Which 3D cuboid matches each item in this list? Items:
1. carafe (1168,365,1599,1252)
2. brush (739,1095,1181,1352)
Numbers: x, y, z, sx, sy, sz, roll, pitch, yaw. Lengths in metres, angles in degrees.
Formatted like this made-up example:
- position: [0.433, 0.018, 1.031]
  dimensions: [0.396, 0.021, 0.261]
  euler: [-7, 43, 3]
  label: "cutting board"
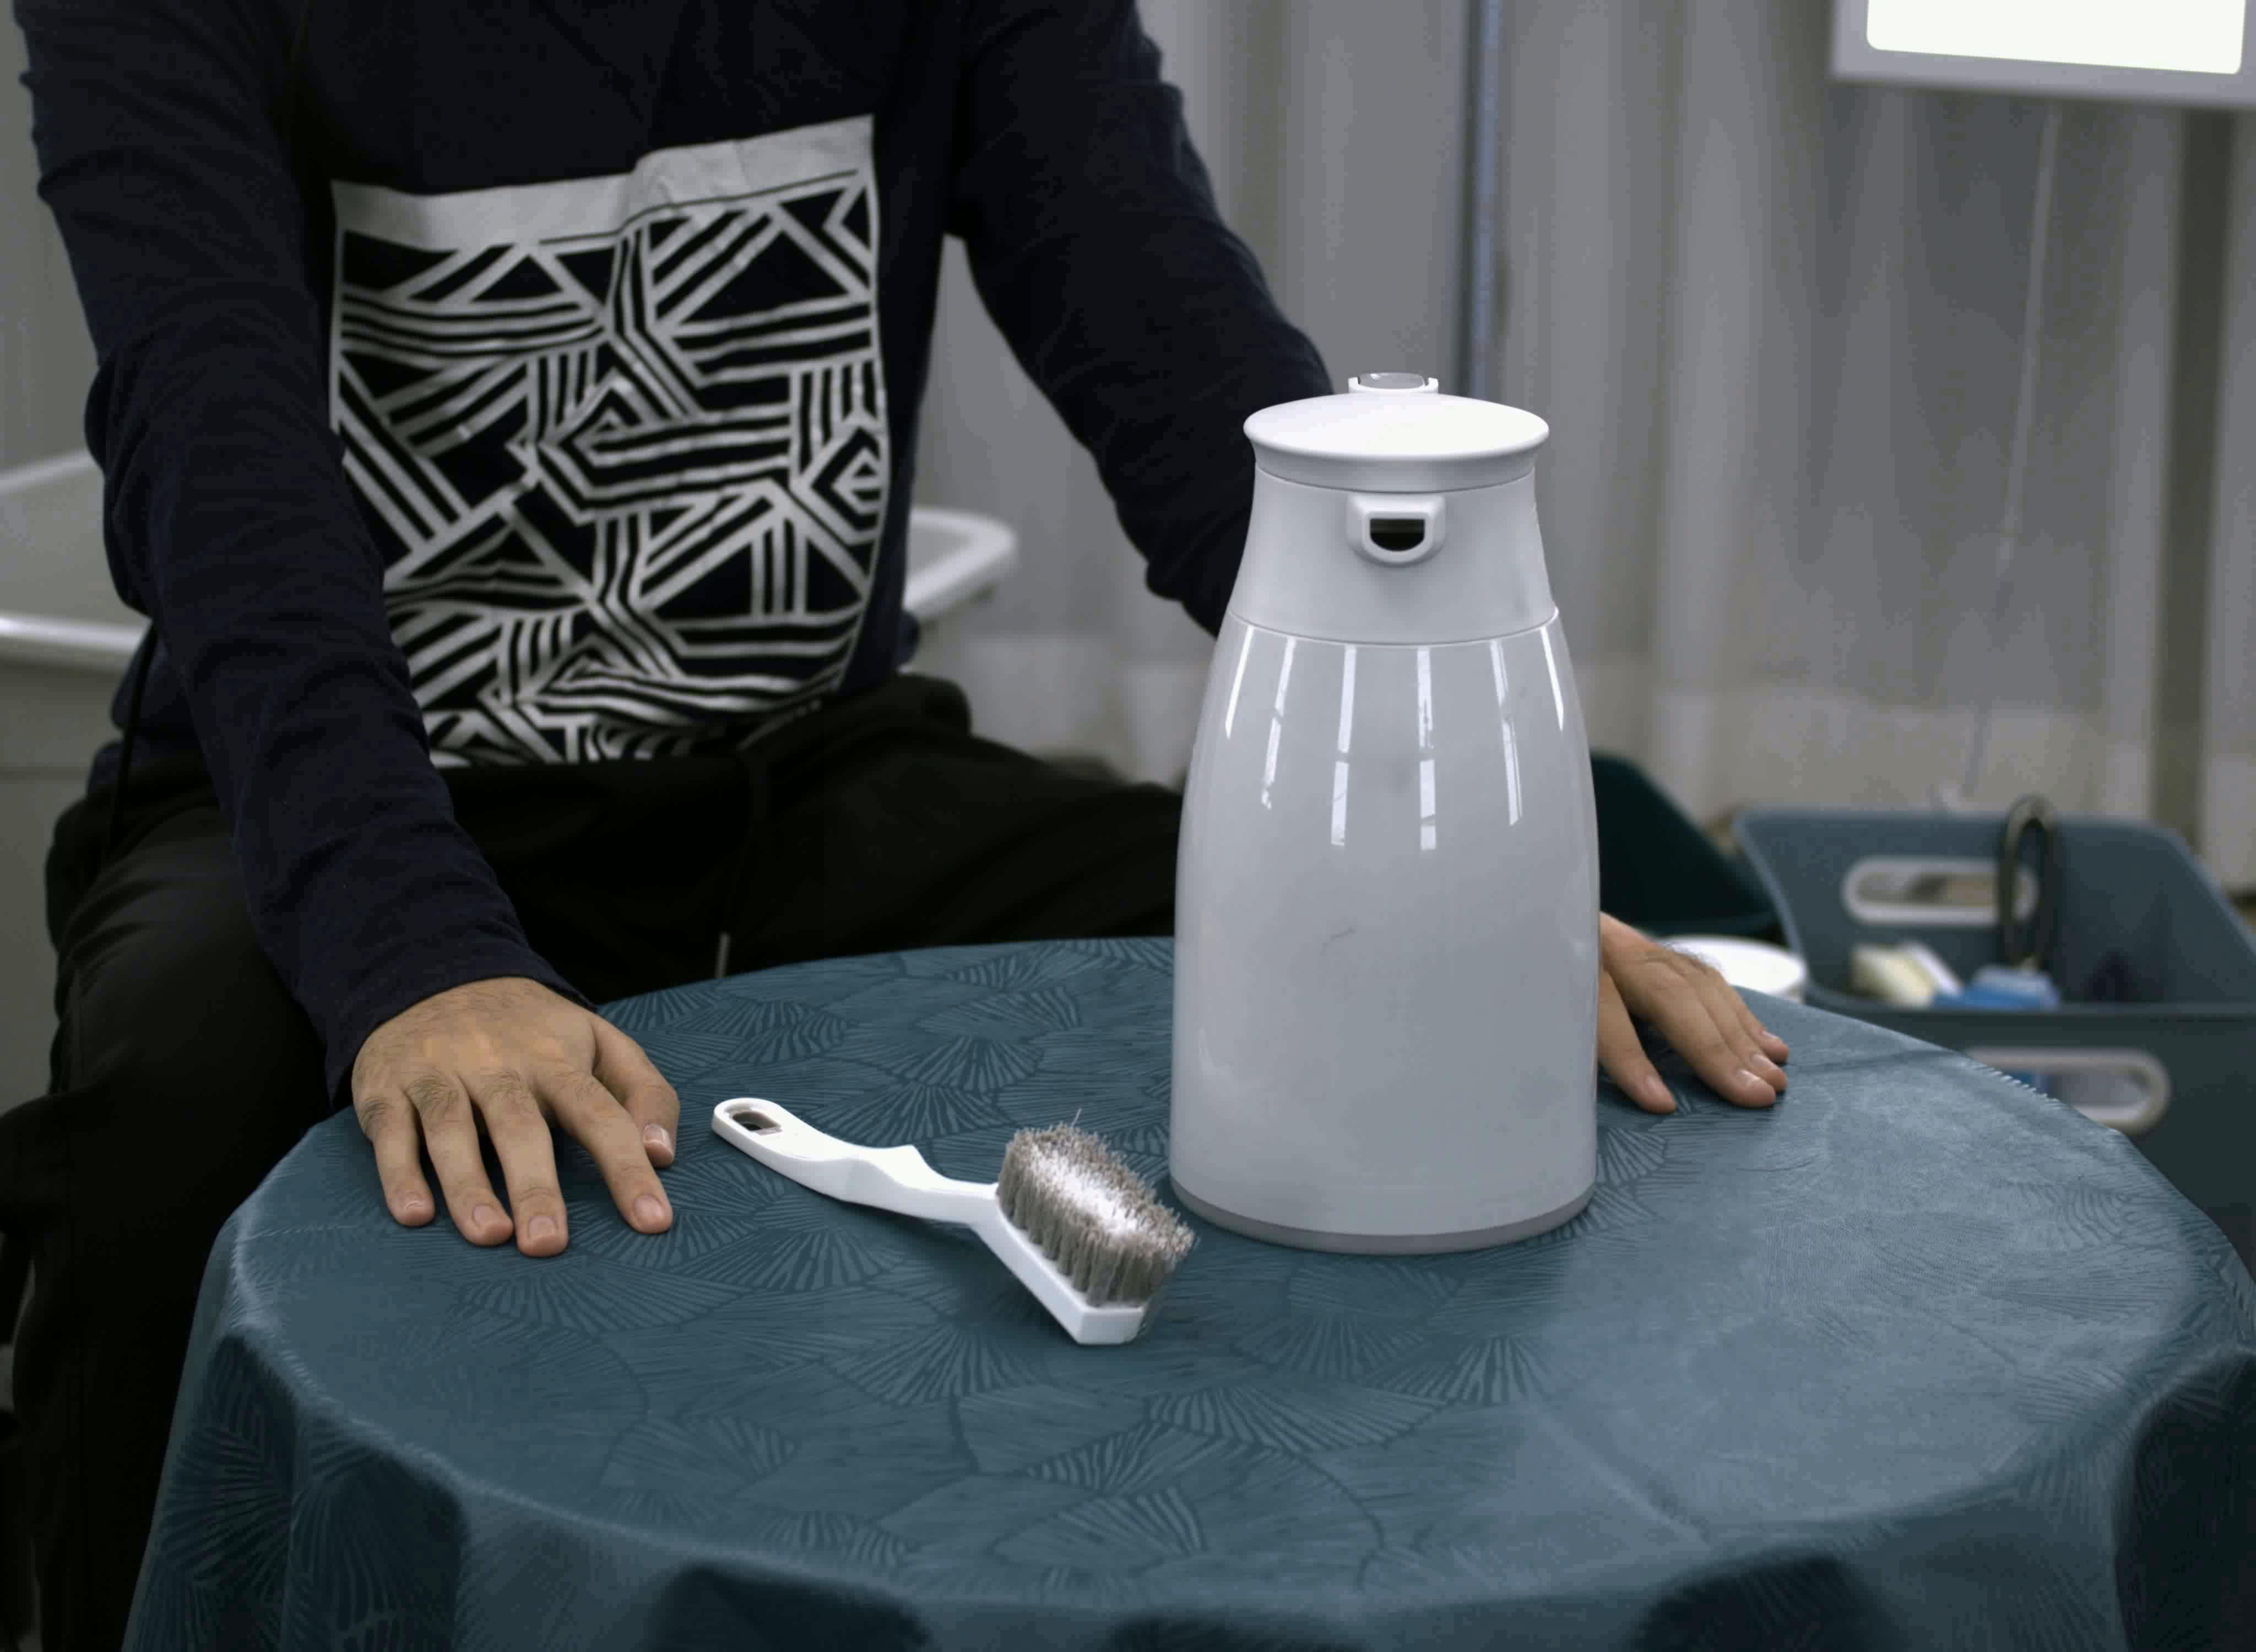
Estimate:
- position: [0.078, -0.014, 1.617]
  dimensions: [0.132, 0.250, 0.167]
  euler: [0, 16, -1]
  label: "carafe"
- position: [-0.057, 0.099, 1.581]
  dimensions: [0.034, 0.051, 0.240]
  euler: [-13, 20, -28]
  label: "brush"
